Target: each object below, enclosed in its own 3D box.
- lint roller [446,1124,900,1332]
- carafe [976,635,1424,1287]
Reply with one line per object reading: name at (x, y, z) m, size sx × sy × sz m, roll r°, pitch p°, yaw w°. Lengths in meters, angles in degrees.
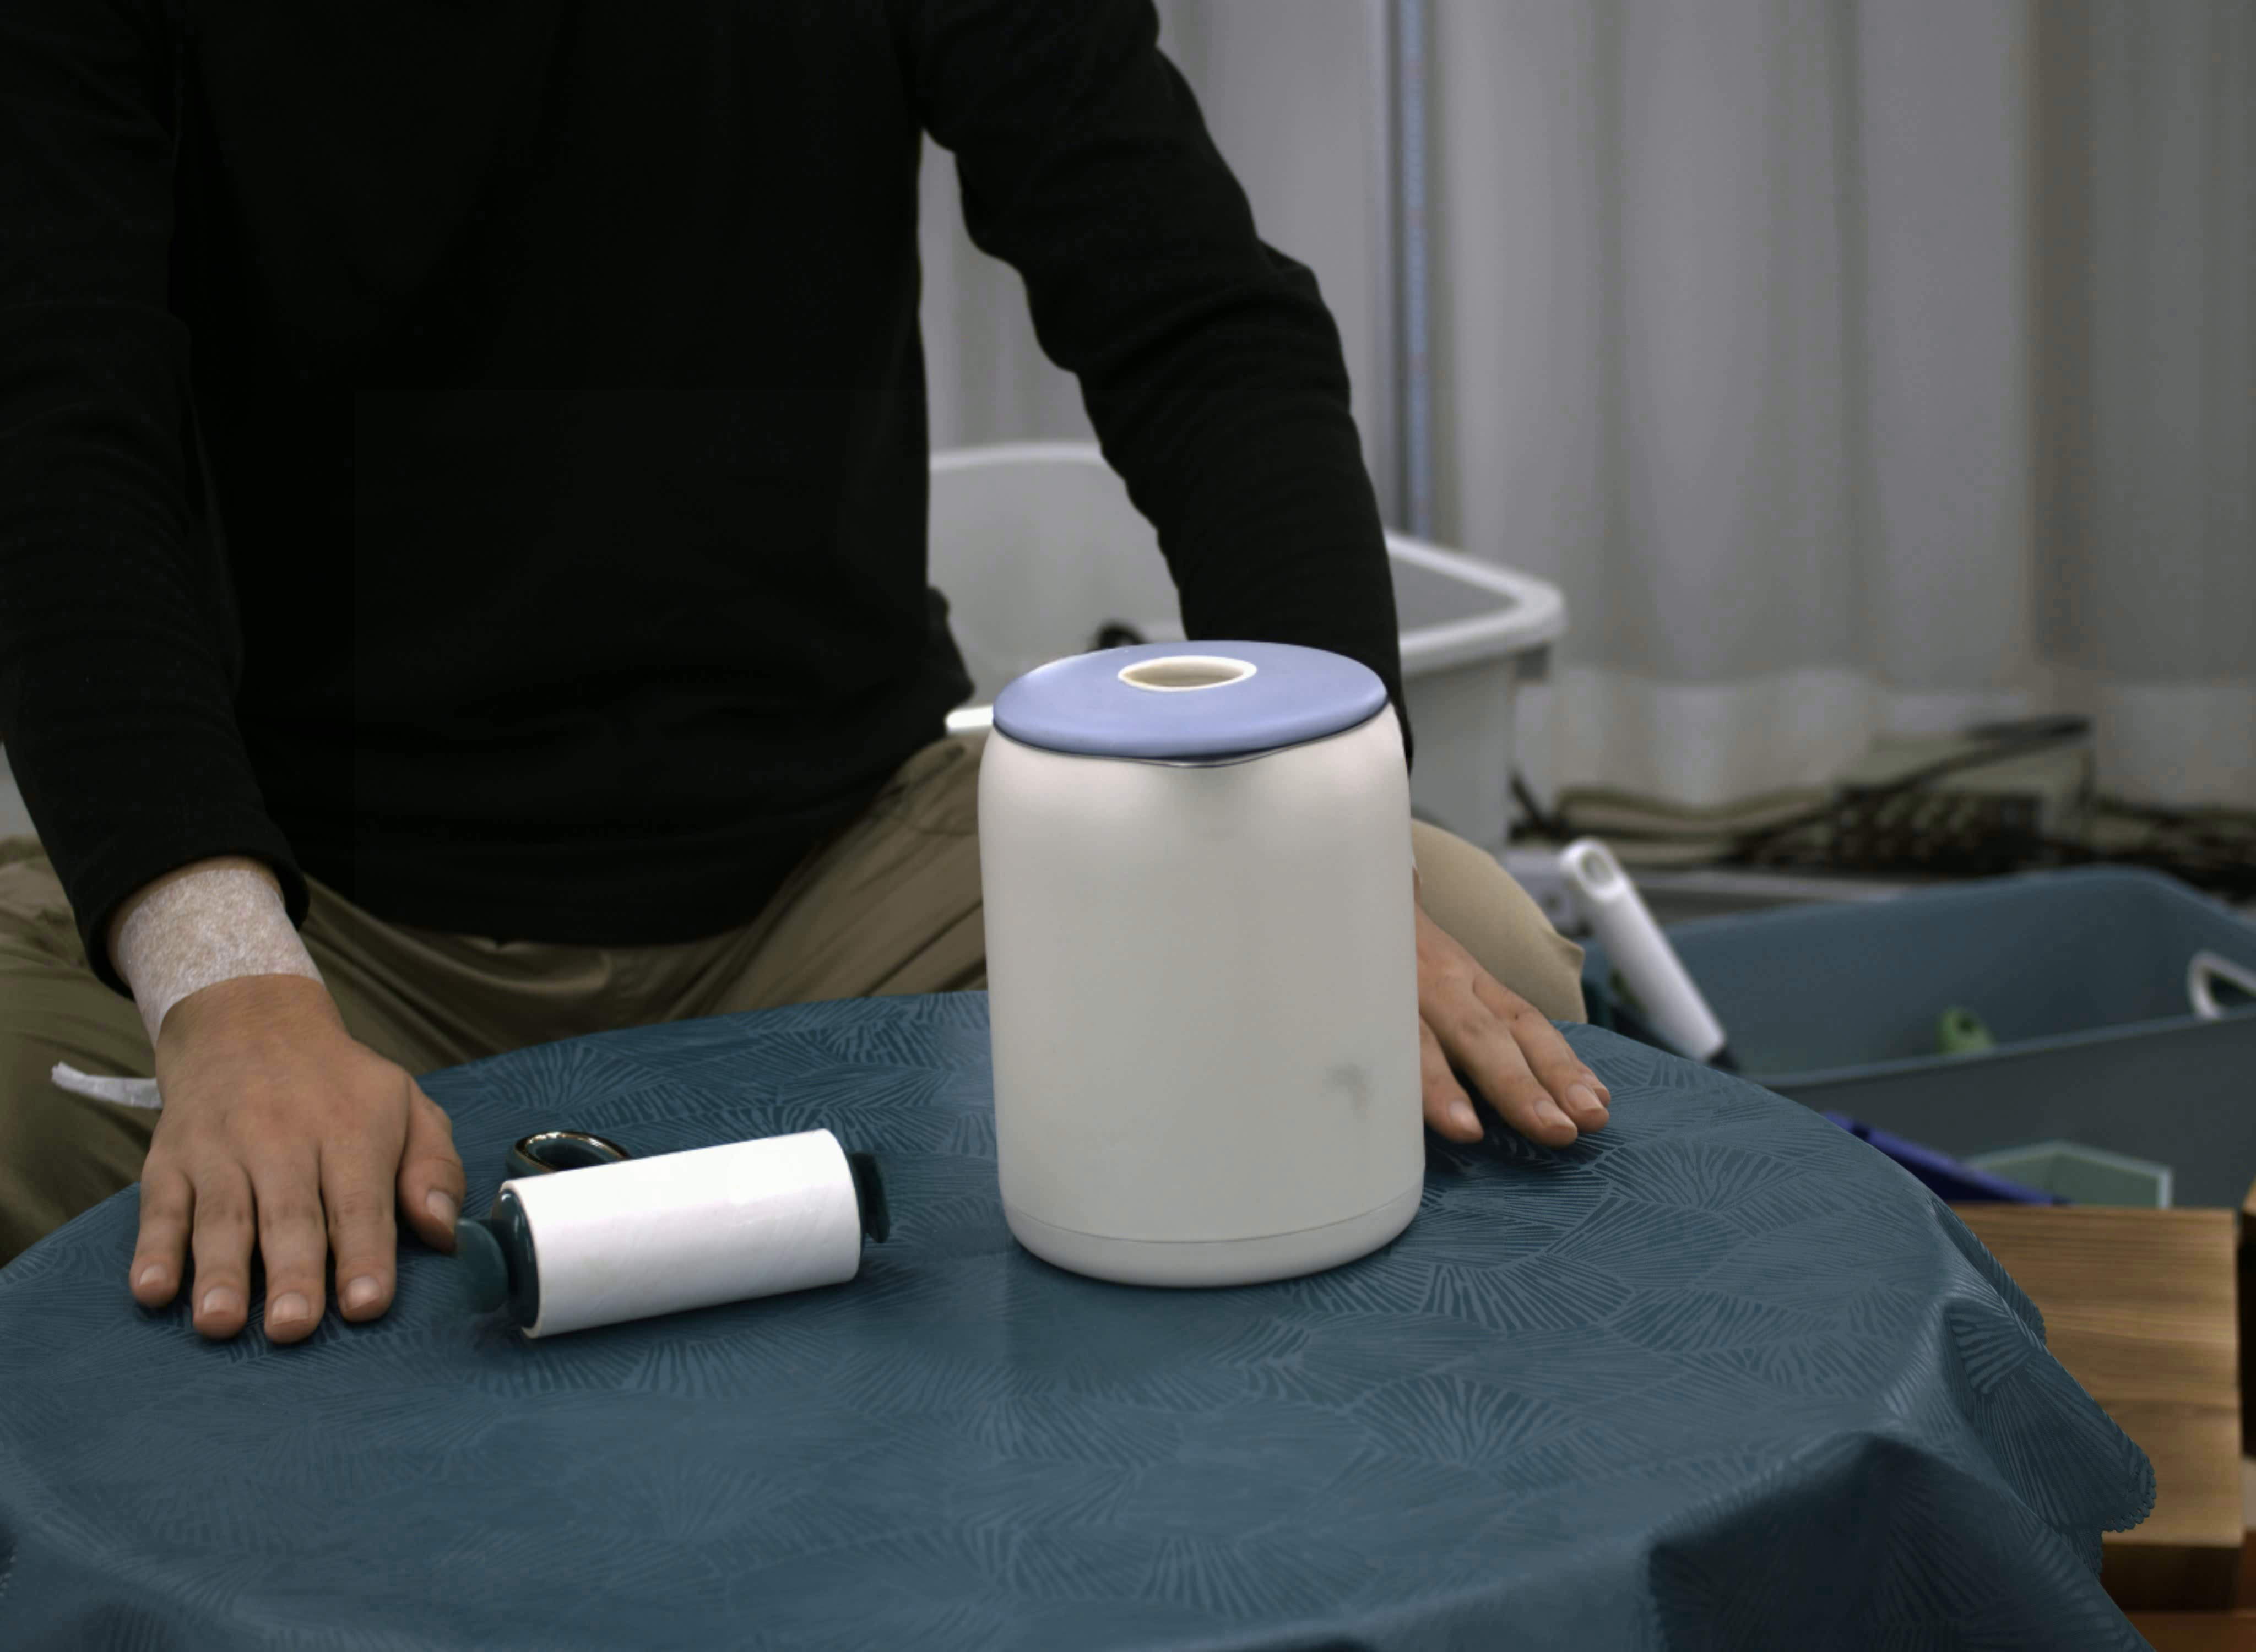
lint roller at (-0.160, 0.108, 1.688) m, size 0.134 × 0.048 × 0.181 m, roll -8°, pitch 13°, yaw -21°
carafe at (0.019, 0.034, 1.682) m, size 0.131 × 0.182 × 0.192 m, roll -4°, pitch 12°, yaw -6°
